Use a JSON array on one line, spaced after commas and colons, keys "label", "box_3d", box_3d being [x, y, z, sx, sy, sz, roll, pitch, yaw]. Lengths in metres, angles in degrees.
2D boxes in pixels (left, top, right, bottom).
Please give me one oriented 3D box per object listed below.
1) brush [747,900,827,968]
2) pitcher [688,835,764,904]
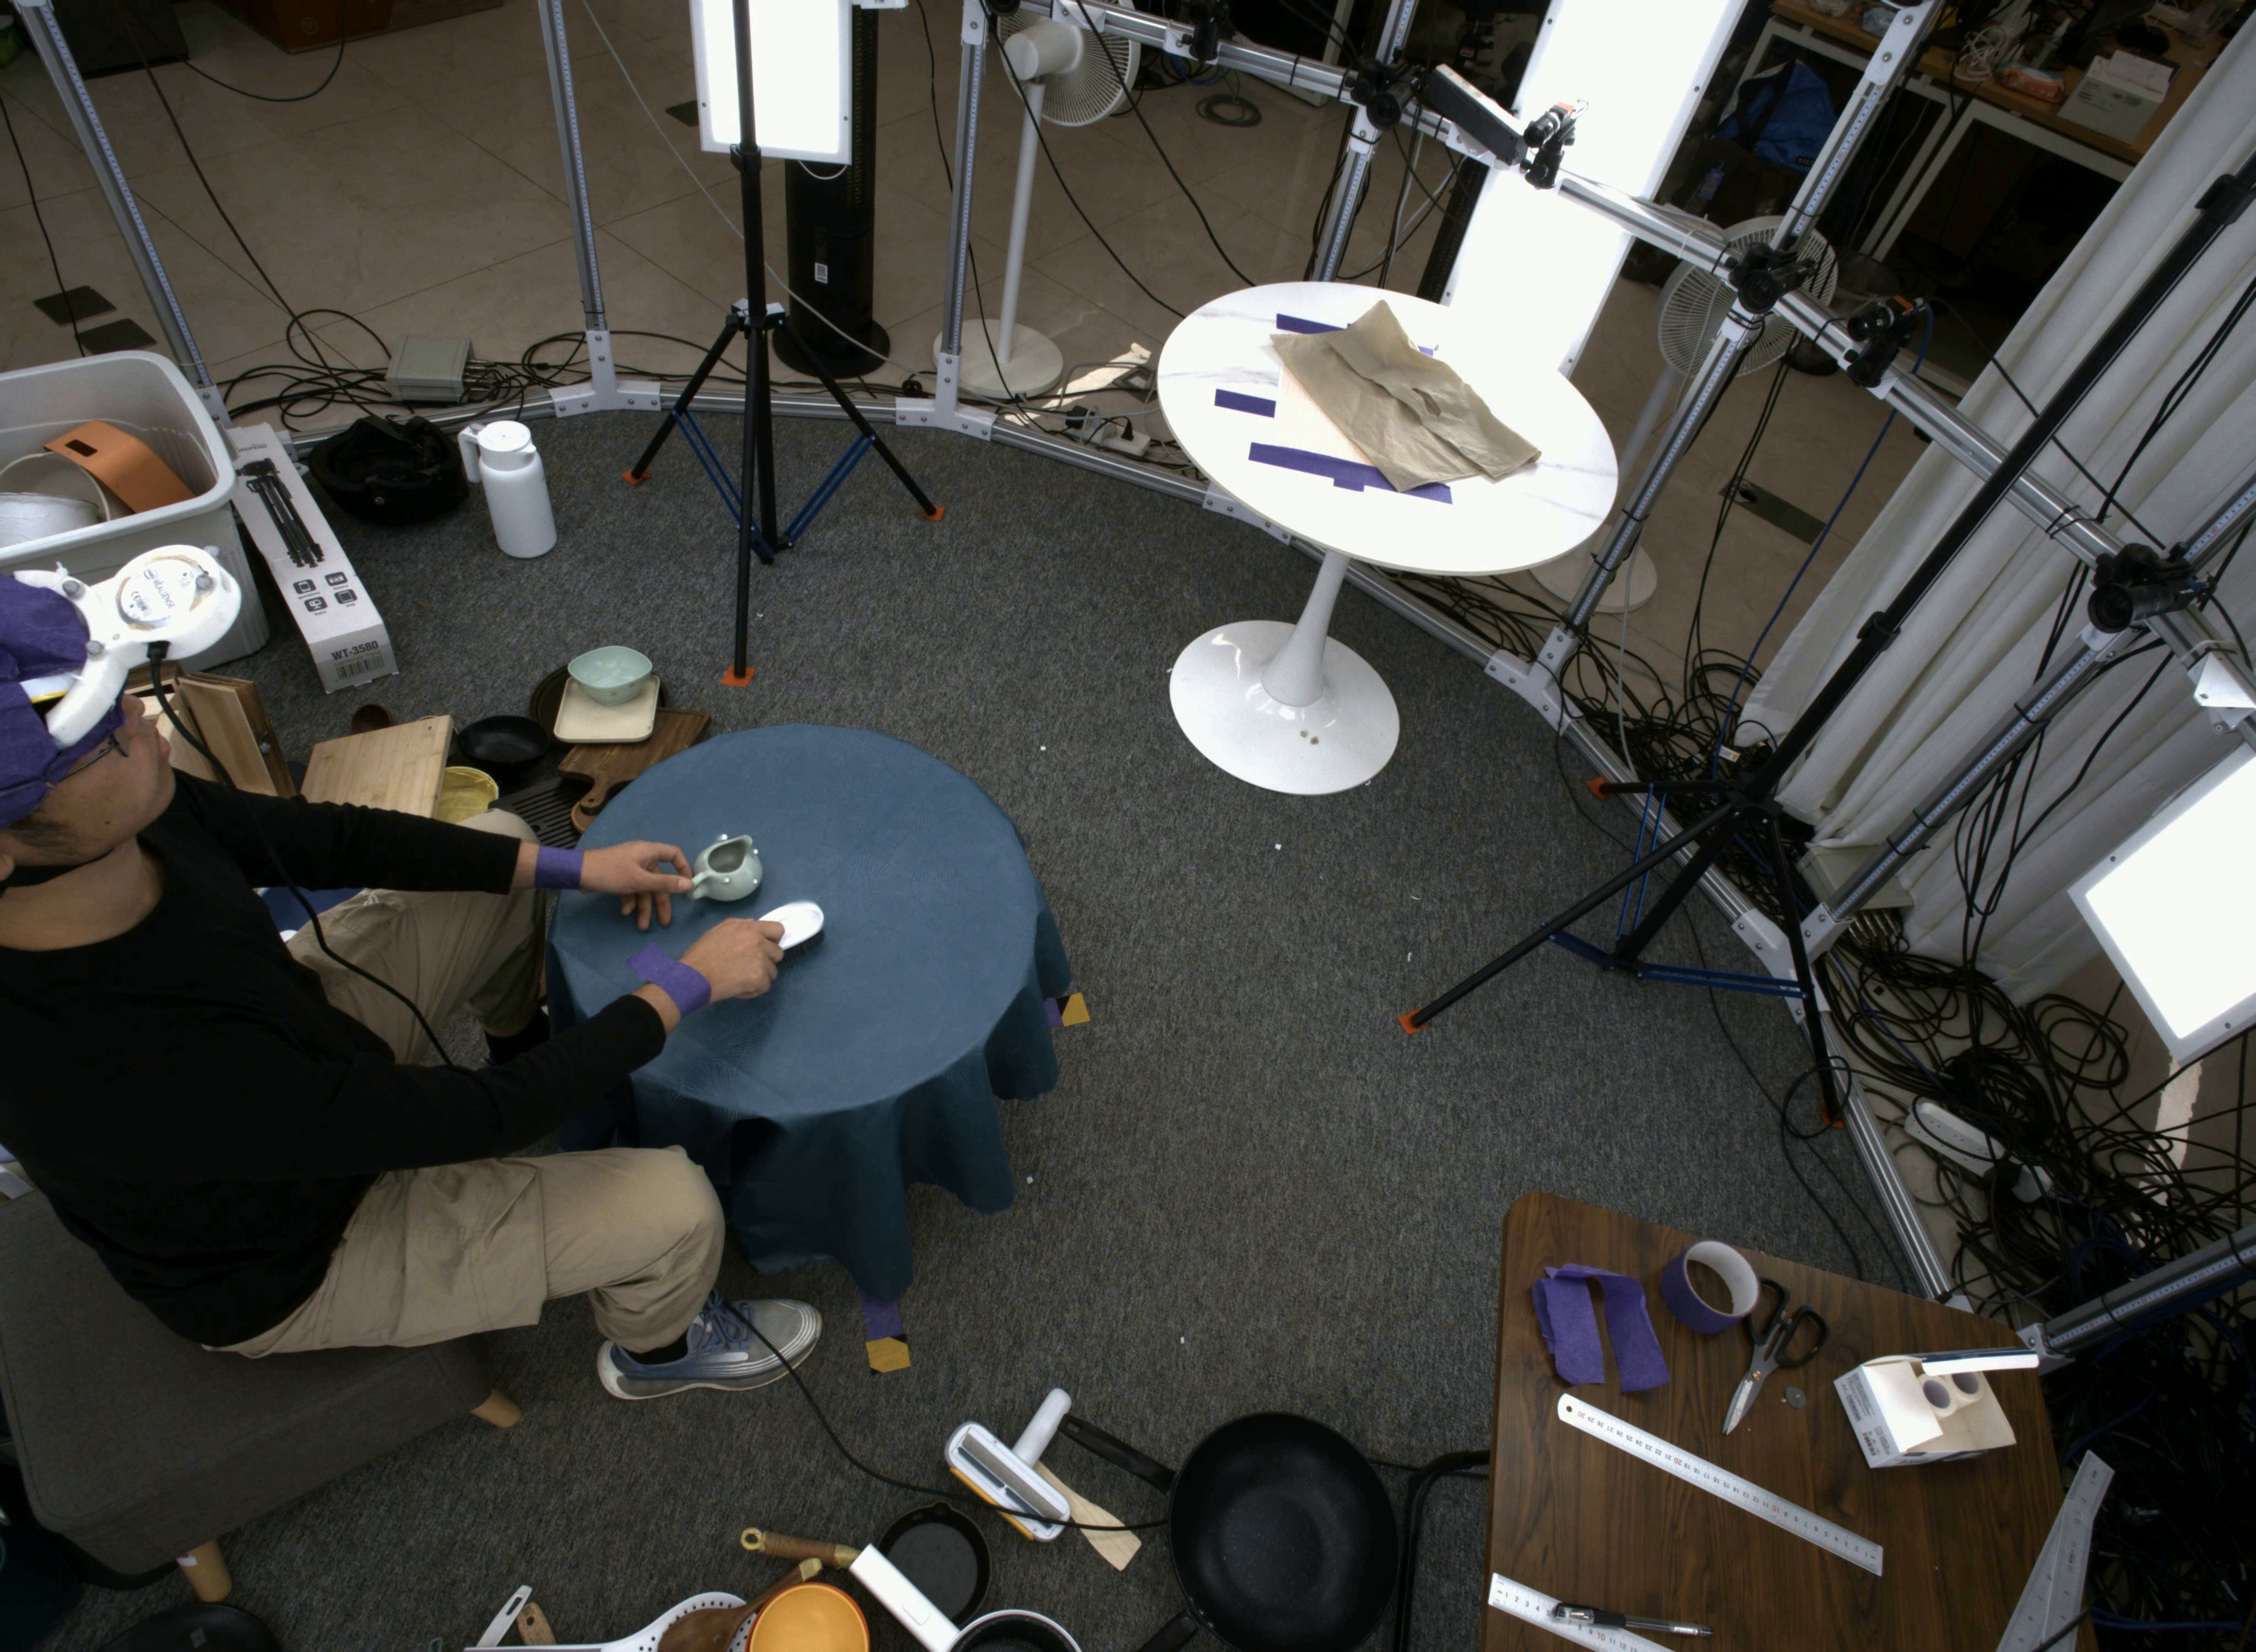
[{"label": "brush", "box_3d": [-0.420, 0.123, 1.590, 0.100, 0.074, 0.049, -24, 59, -29]}, {"label": "pitcher", "box_3d": [-0.511, 0.060, 1.626, 0.084, 0.061, 0.108, 31, 55, 11]}]
